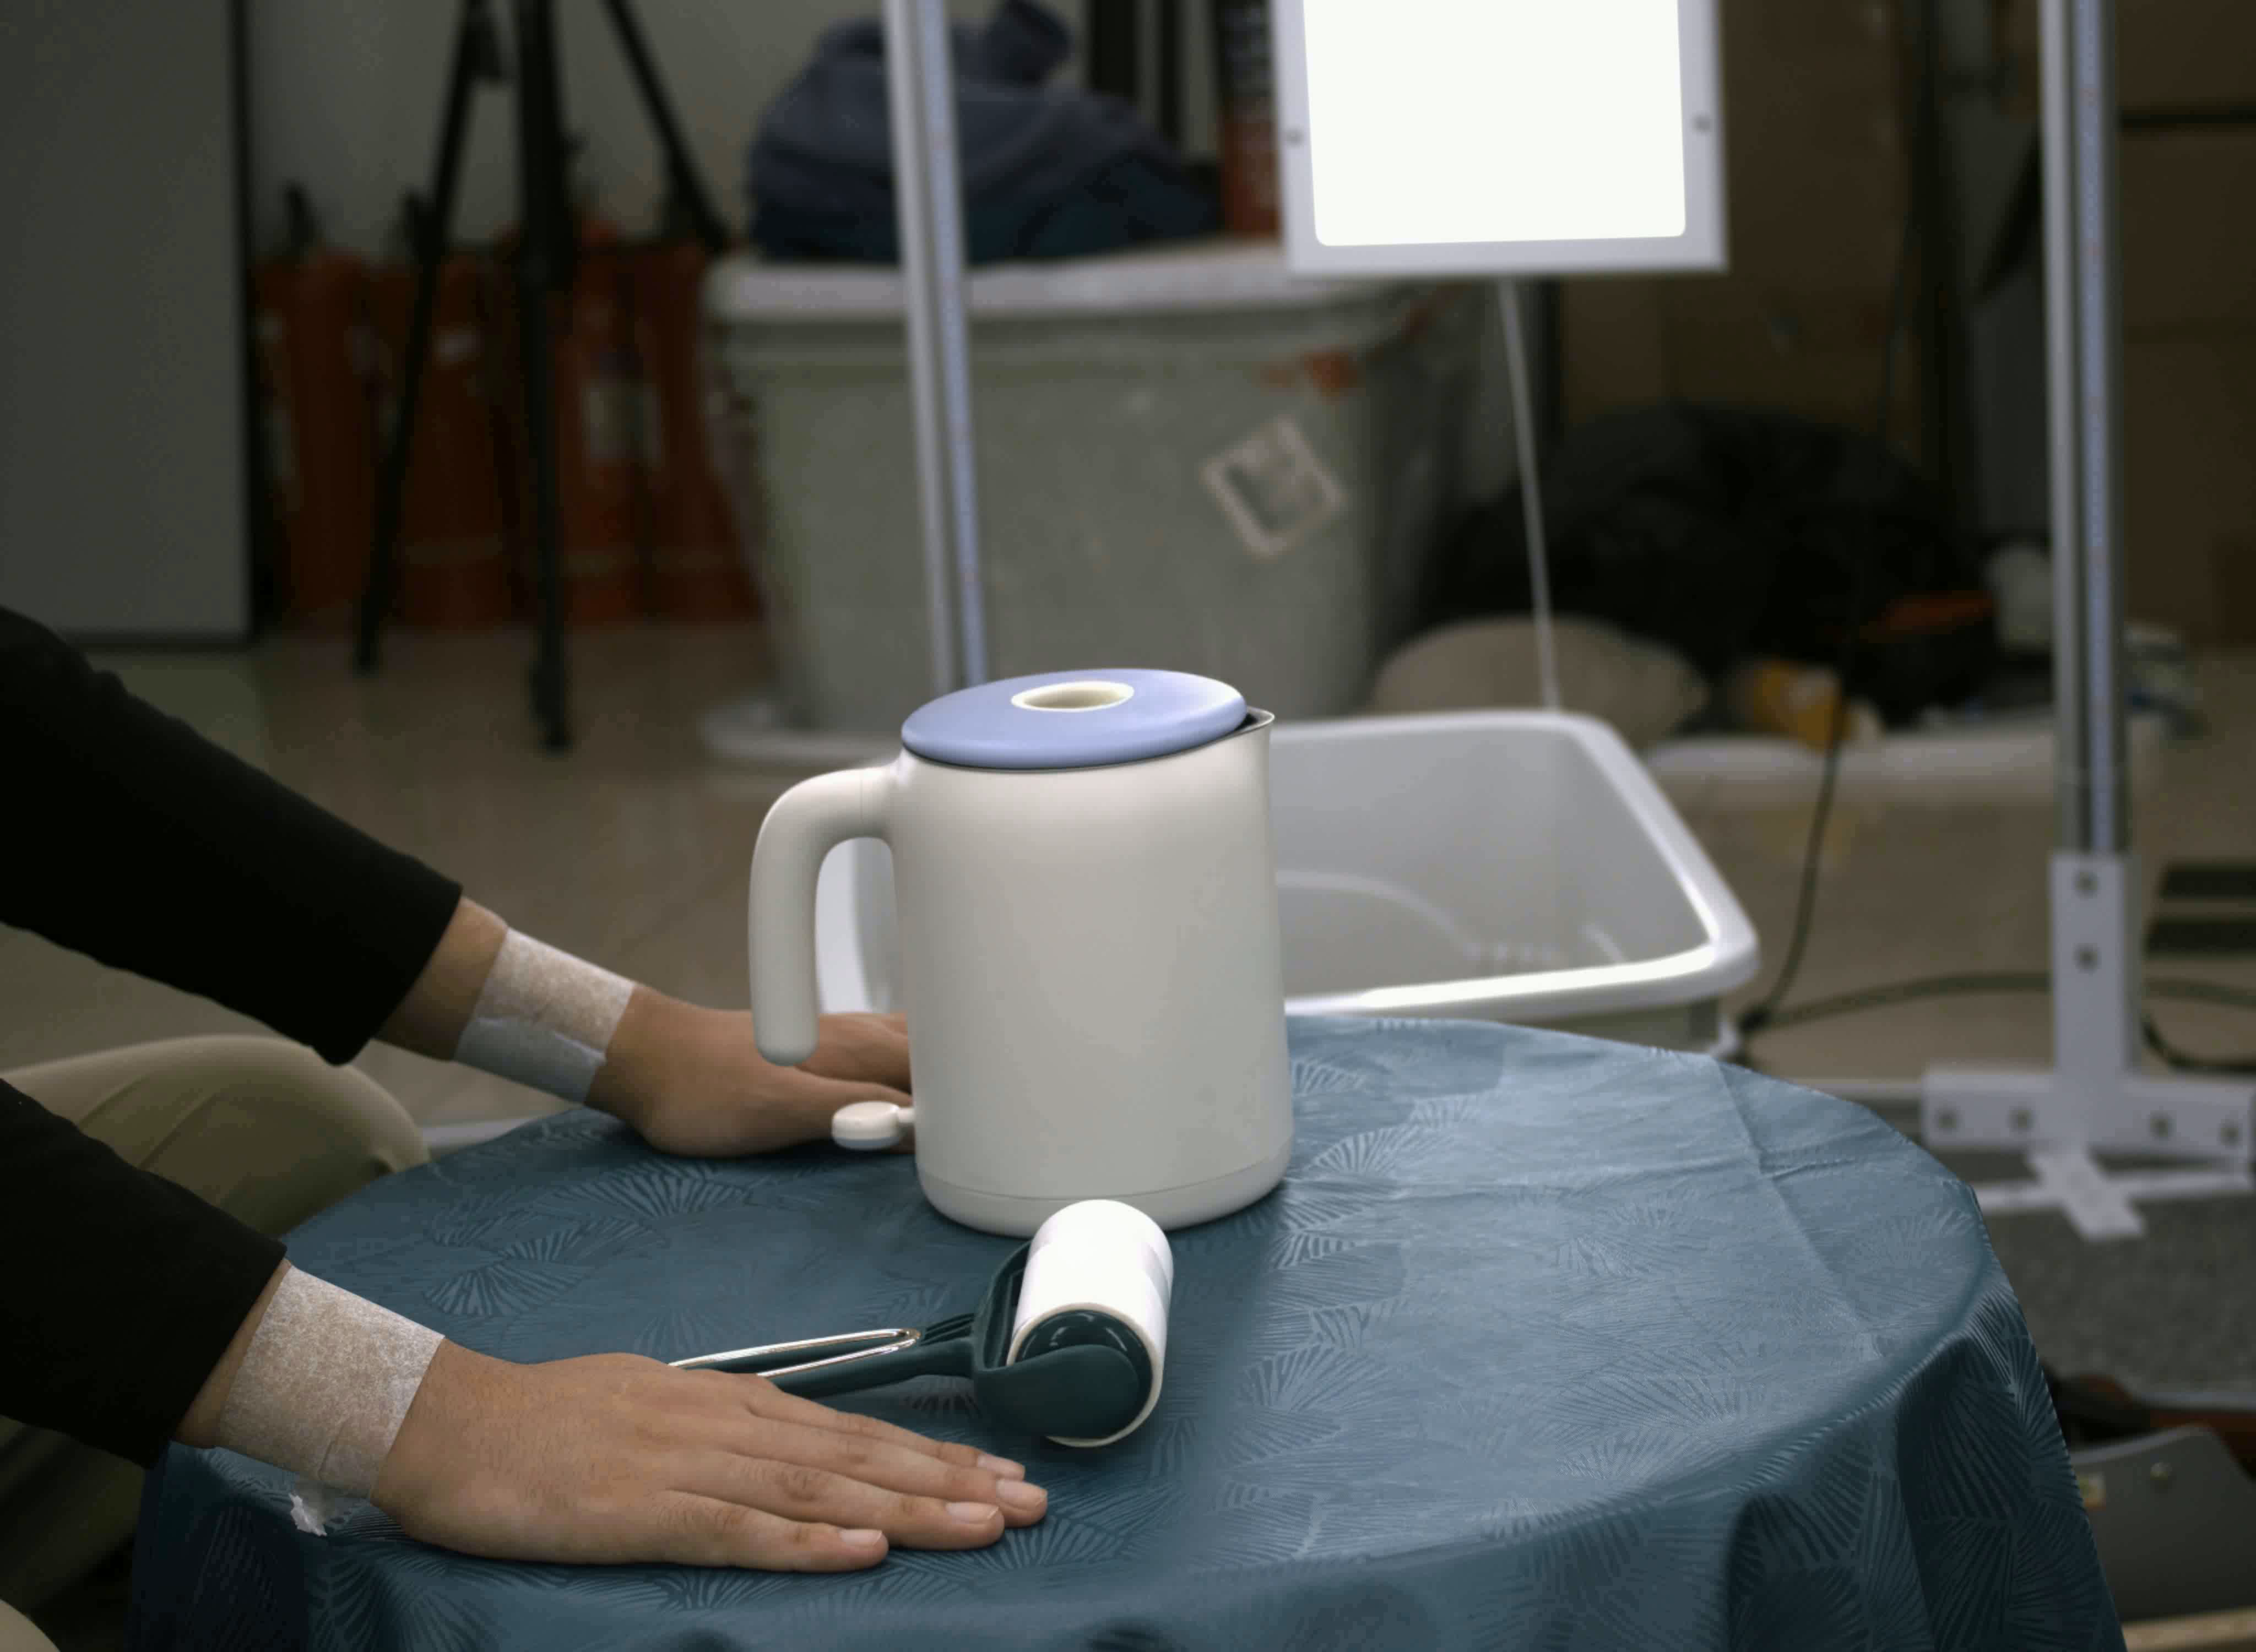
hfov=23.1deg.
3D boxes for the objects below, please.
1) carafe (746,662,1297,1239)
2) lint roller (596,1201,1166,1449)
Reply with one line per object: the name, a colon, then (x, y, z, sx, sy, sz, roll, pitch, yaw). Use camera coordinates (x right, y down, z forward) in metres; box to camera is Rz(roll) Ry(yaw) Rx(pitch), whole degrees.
carafe: (-0.037, 0.044, 1.887, 0.192, 0.183, 0.131, -5, 13, 7)
lint roller: (-0.079, 0.159, 1.704, 0.180, 0.048, 0.133, -6, 13, 6)
